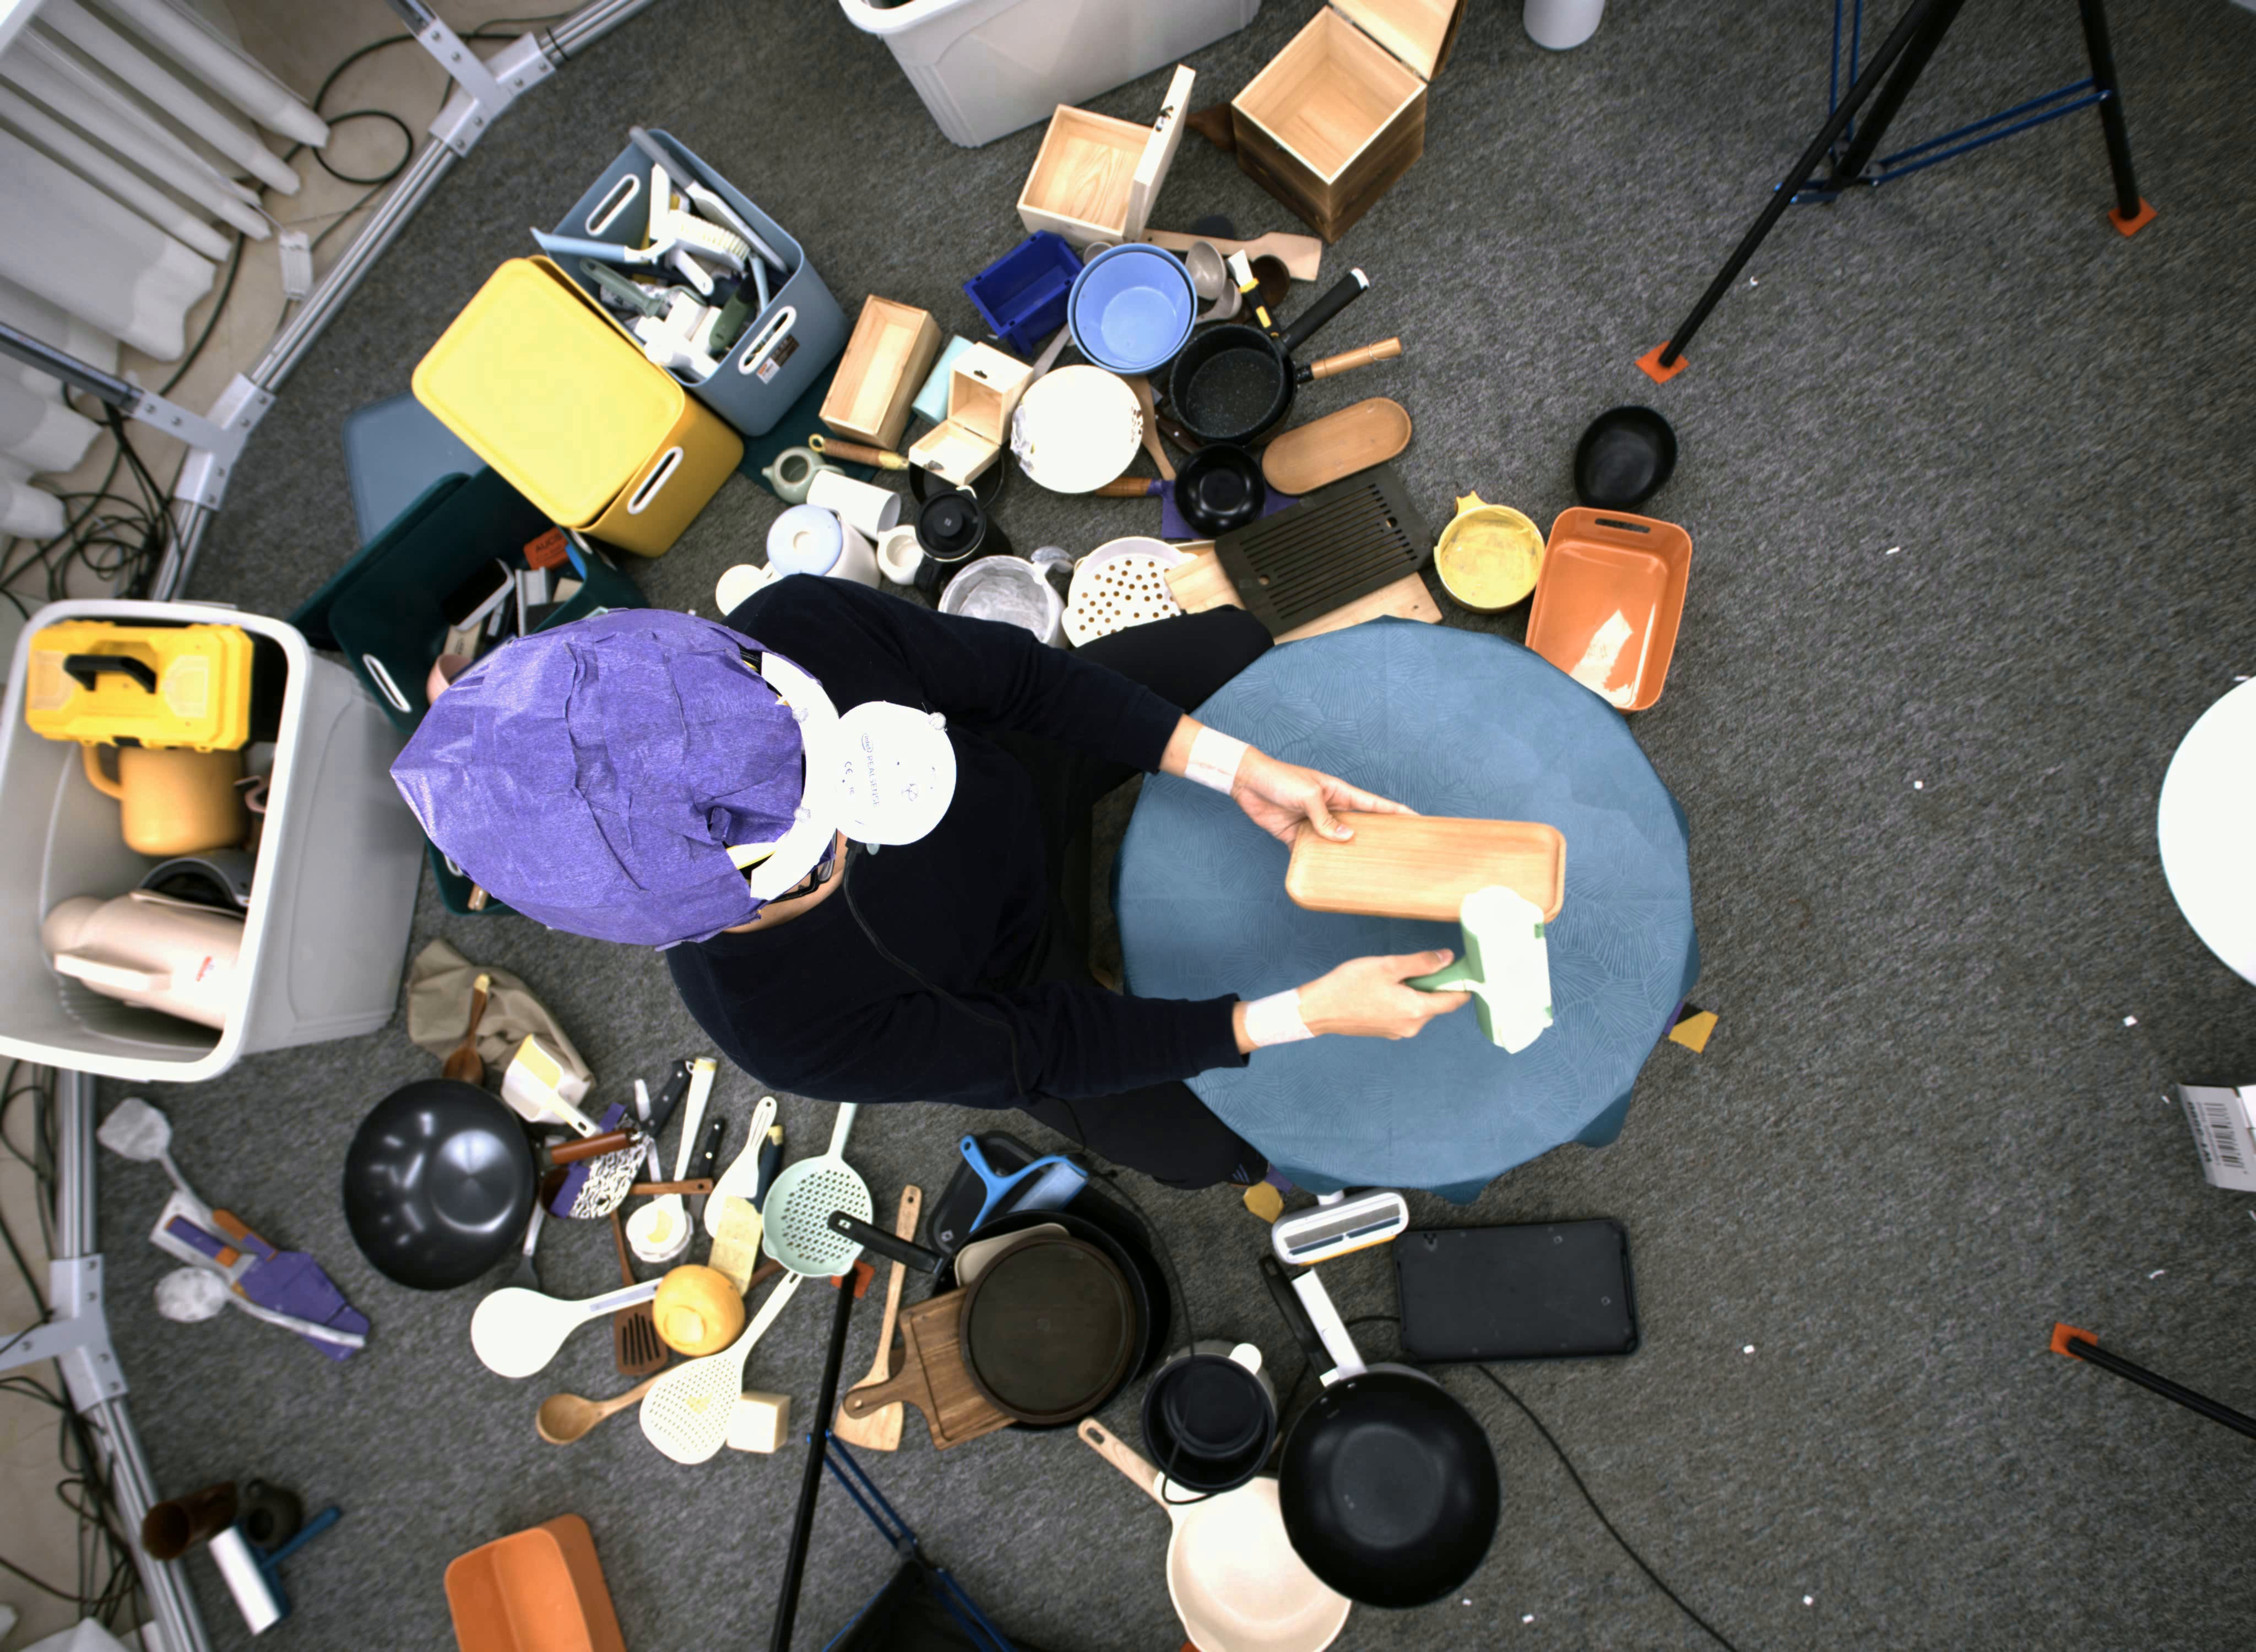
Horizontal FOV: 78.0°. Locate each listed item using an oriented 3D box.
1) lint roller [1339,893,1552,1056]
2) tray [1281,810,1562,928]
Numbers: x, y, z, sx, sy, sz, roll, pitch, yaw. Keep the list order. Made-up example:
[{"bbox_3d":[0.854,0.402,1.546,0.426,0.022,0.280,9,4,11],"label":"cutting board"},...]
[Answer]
[{"bbox_3d":[0.285,0.155,1.229,0.184,0.202,0.080,-20,49,6],"label":"lint roller"},{"bbox_3d":[0.273,0.039,1.283,0.252,0.023,0.127,4,45,19],"label":"tray"}]
